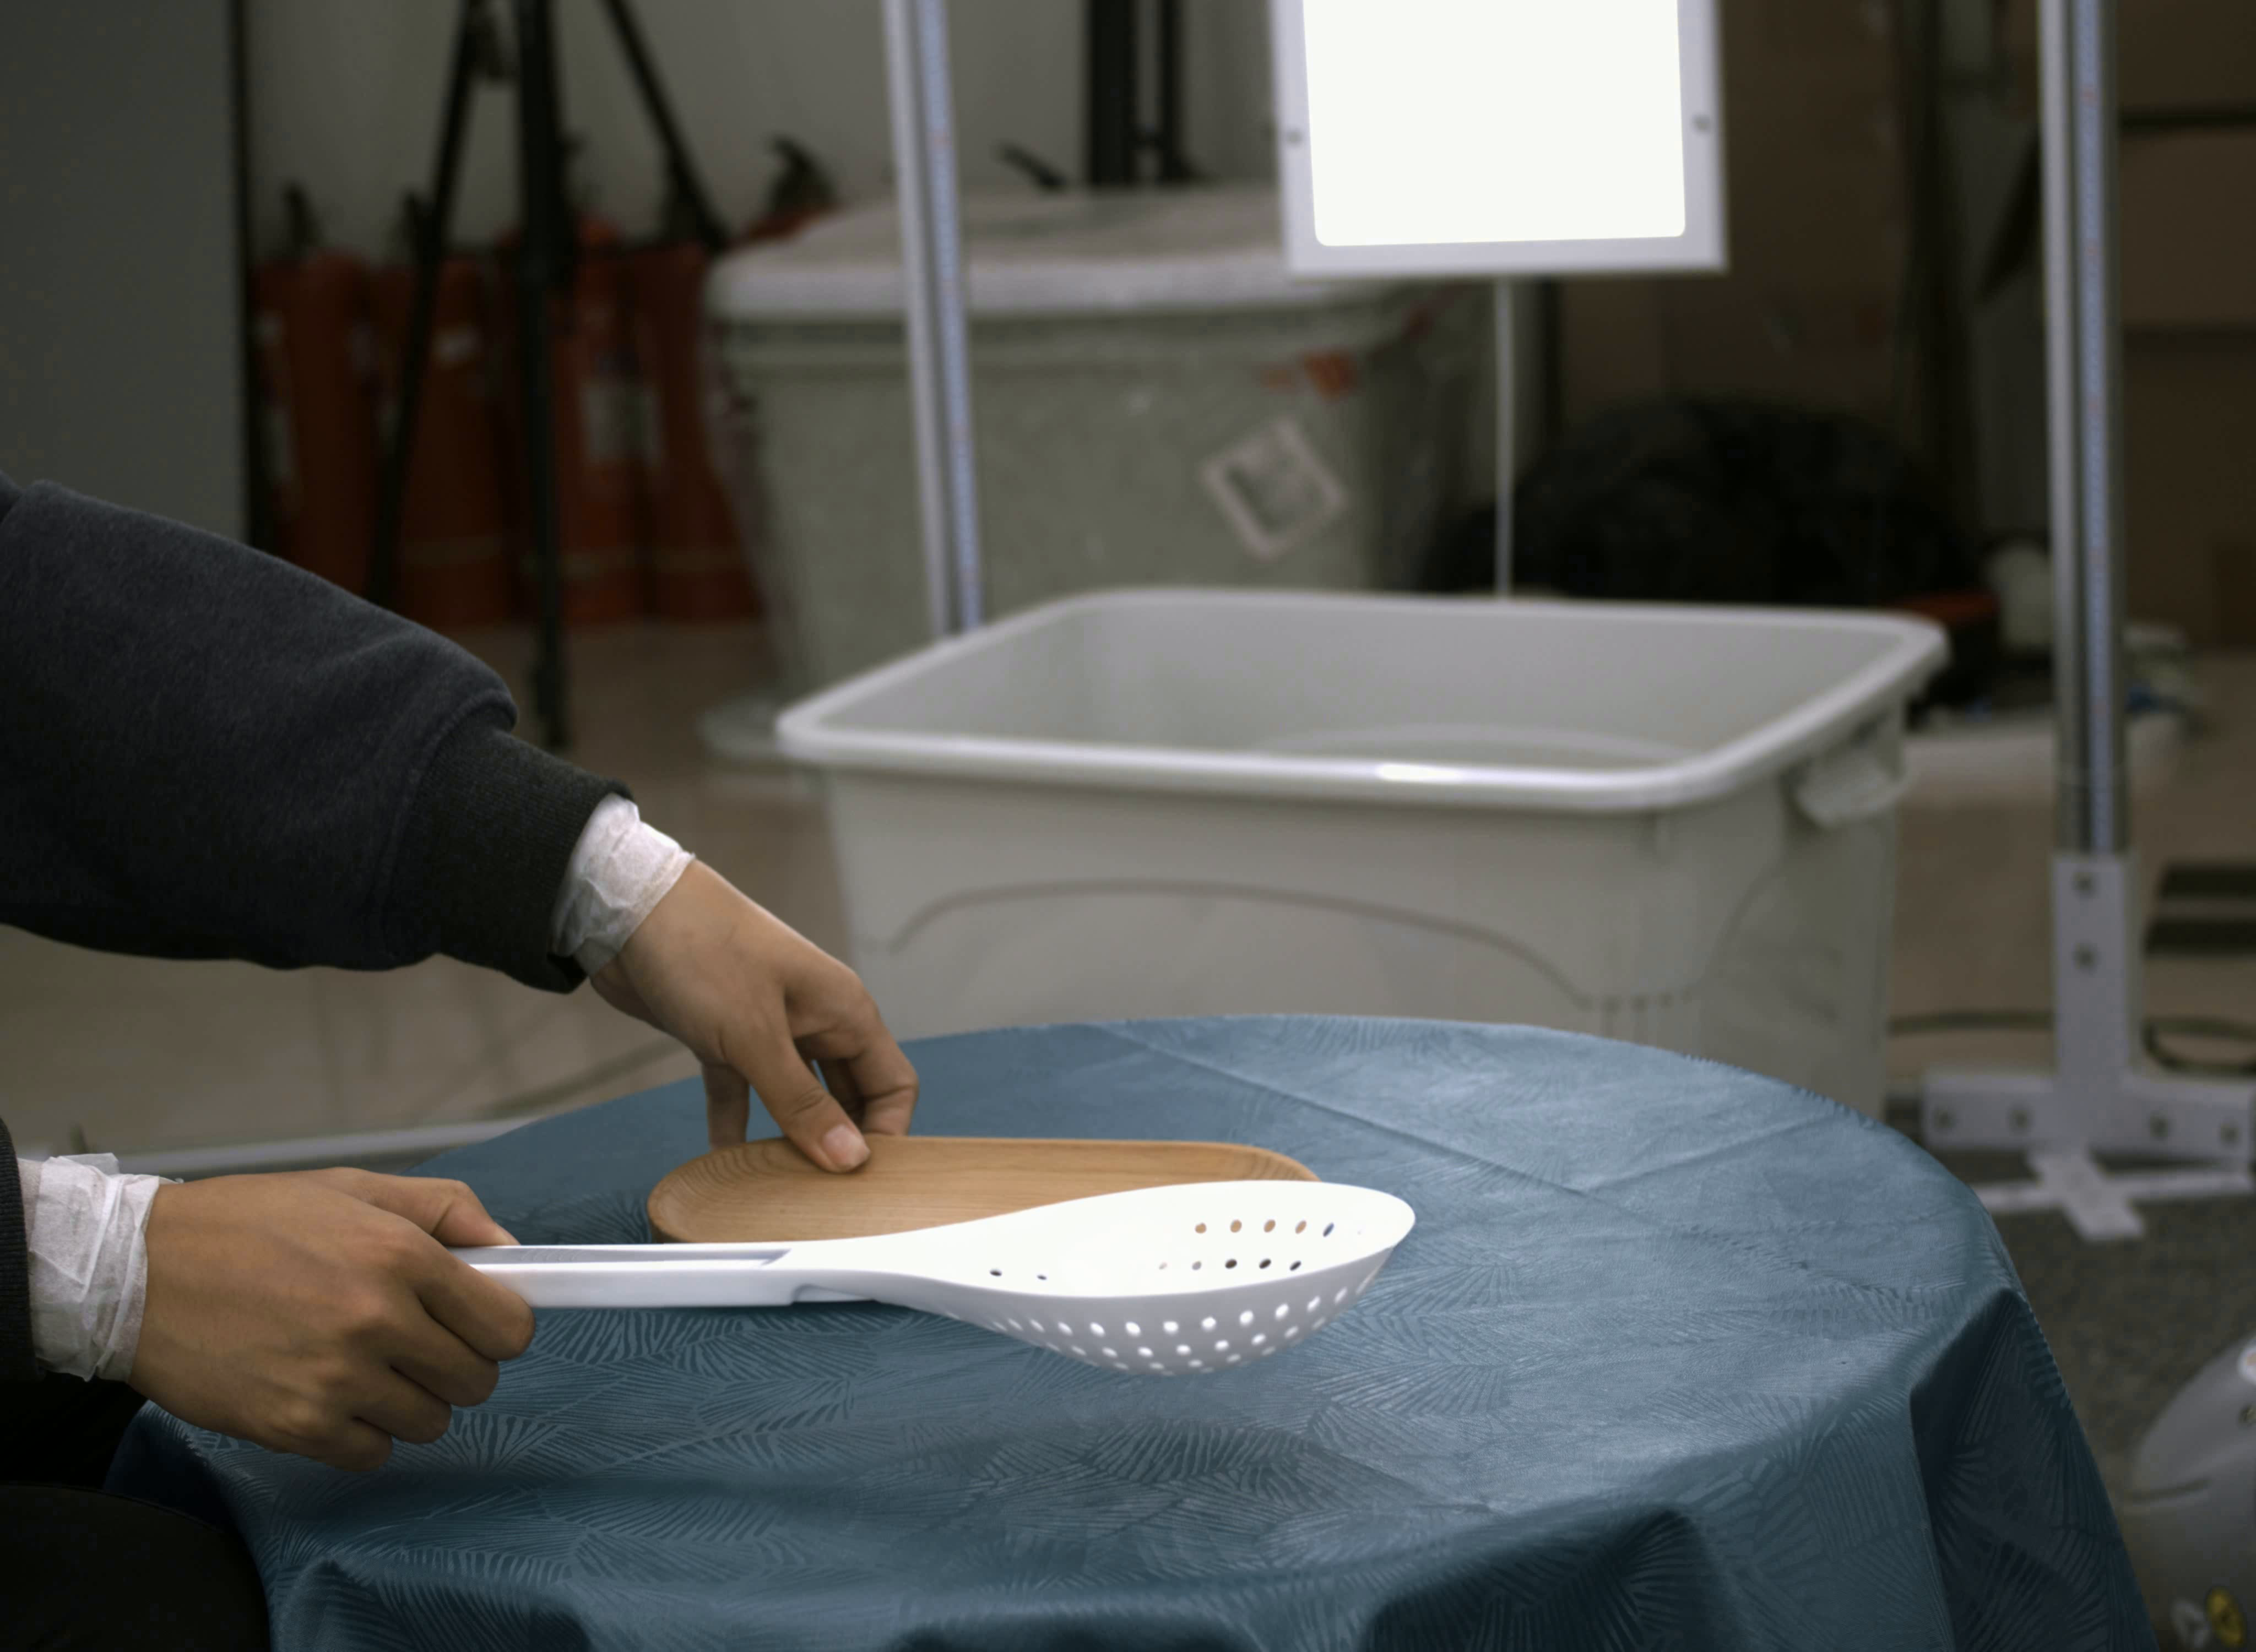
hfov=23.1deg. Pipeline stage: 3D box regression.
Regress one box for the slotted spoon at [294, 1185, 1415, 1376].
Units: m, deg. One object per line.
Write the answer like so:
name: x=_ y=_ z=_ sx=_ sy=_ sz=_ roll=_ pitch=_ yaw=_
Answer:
slotted spoon: x=-0.086 y=0.133 z=1.647 sx=0.354 sy=0.046 sz=0.134 roll=2 pitch=10 yaw=18

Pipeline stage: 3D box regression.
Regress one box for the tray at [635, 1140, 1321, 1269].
tray: x=-0.050 y=0.131 z=1.837 sx=0.232 sy=0.020 sz=0.100 roll=-1 pitch=17 yaw=11
